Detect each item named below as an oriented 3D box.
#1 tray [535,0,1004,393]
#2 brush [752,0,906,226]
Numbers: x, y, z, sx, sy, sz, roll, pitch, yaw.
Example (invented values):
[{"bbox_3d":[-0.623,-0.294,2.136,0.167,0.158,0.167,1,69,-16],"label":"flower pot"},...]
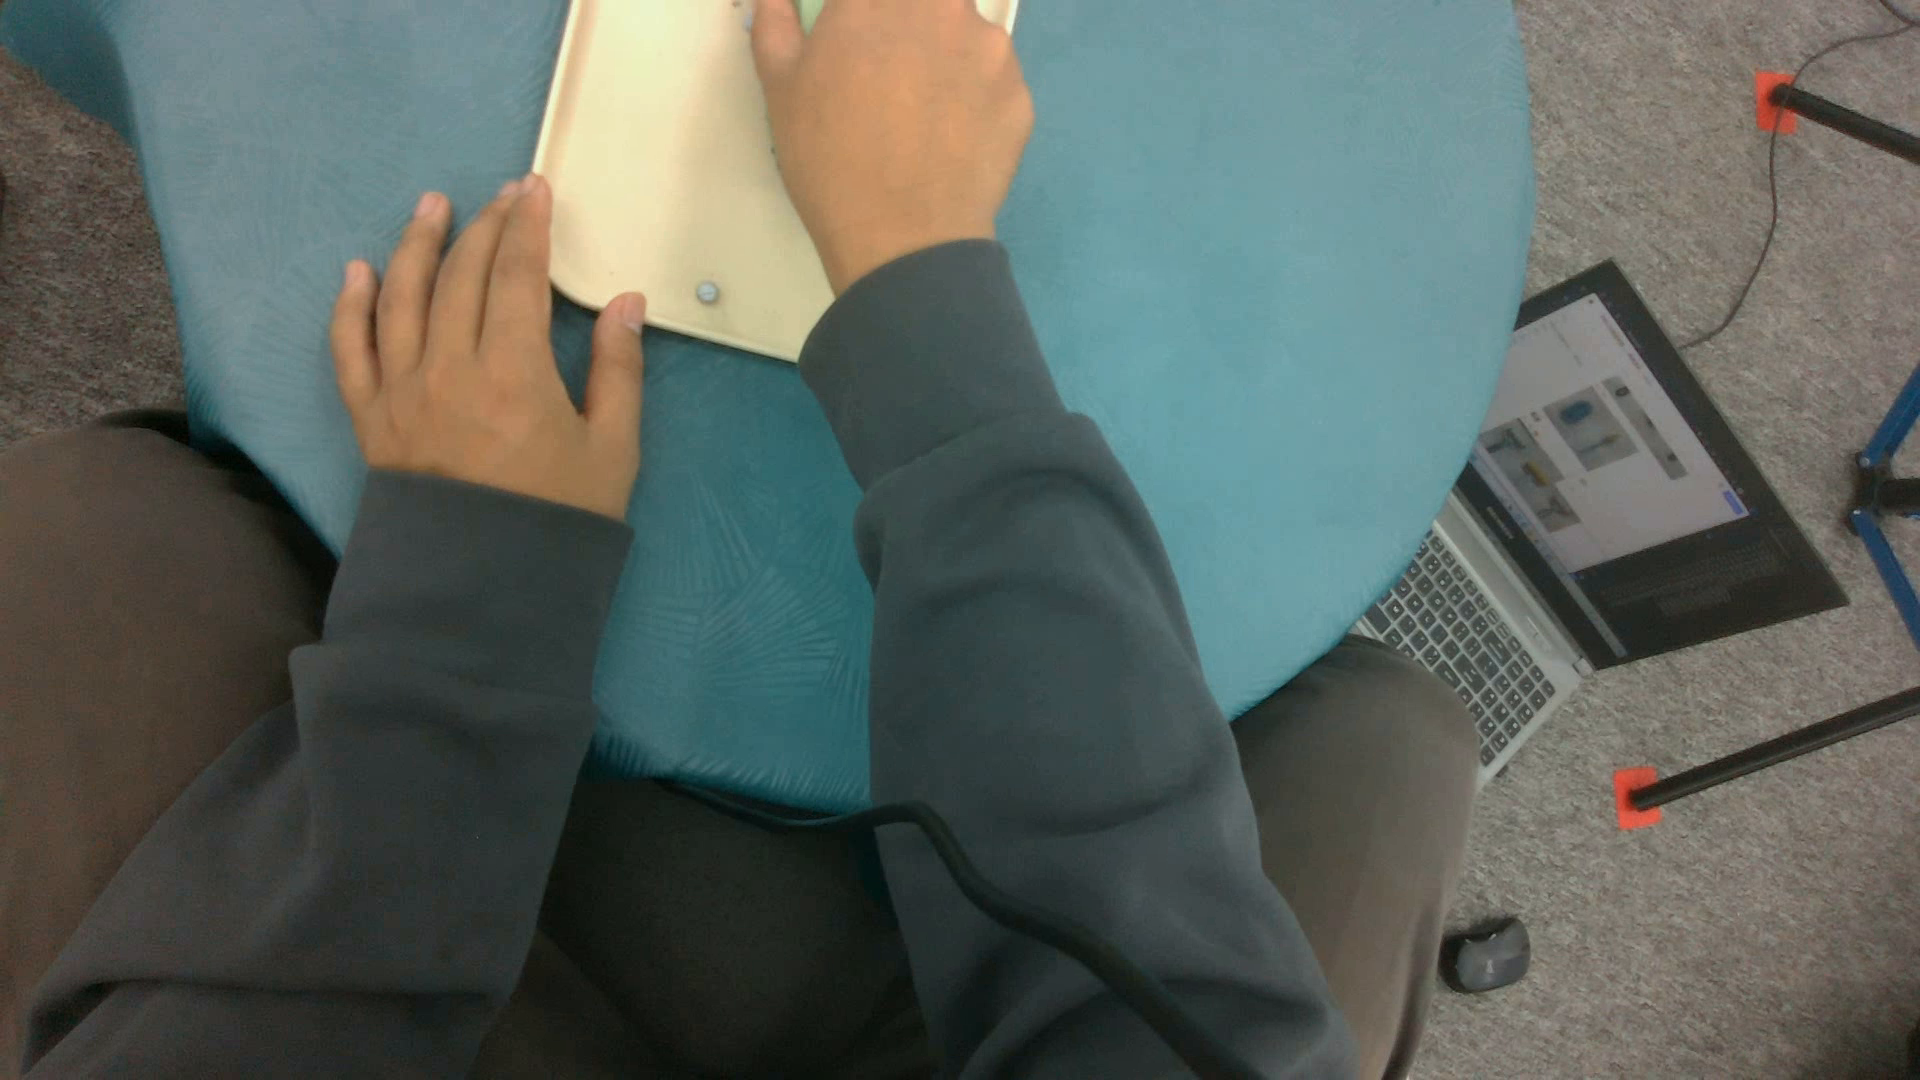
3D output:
[{"bbox_3d":[-0.072,-0.187,0.570,0.171,0.017,0.240,11,84,-16],"label":"tray"},{"bbox_3d":[-0.052,-0.189,0.556,0.060,0.076,0.122,-6,103,-16],"label":"brush"}]
